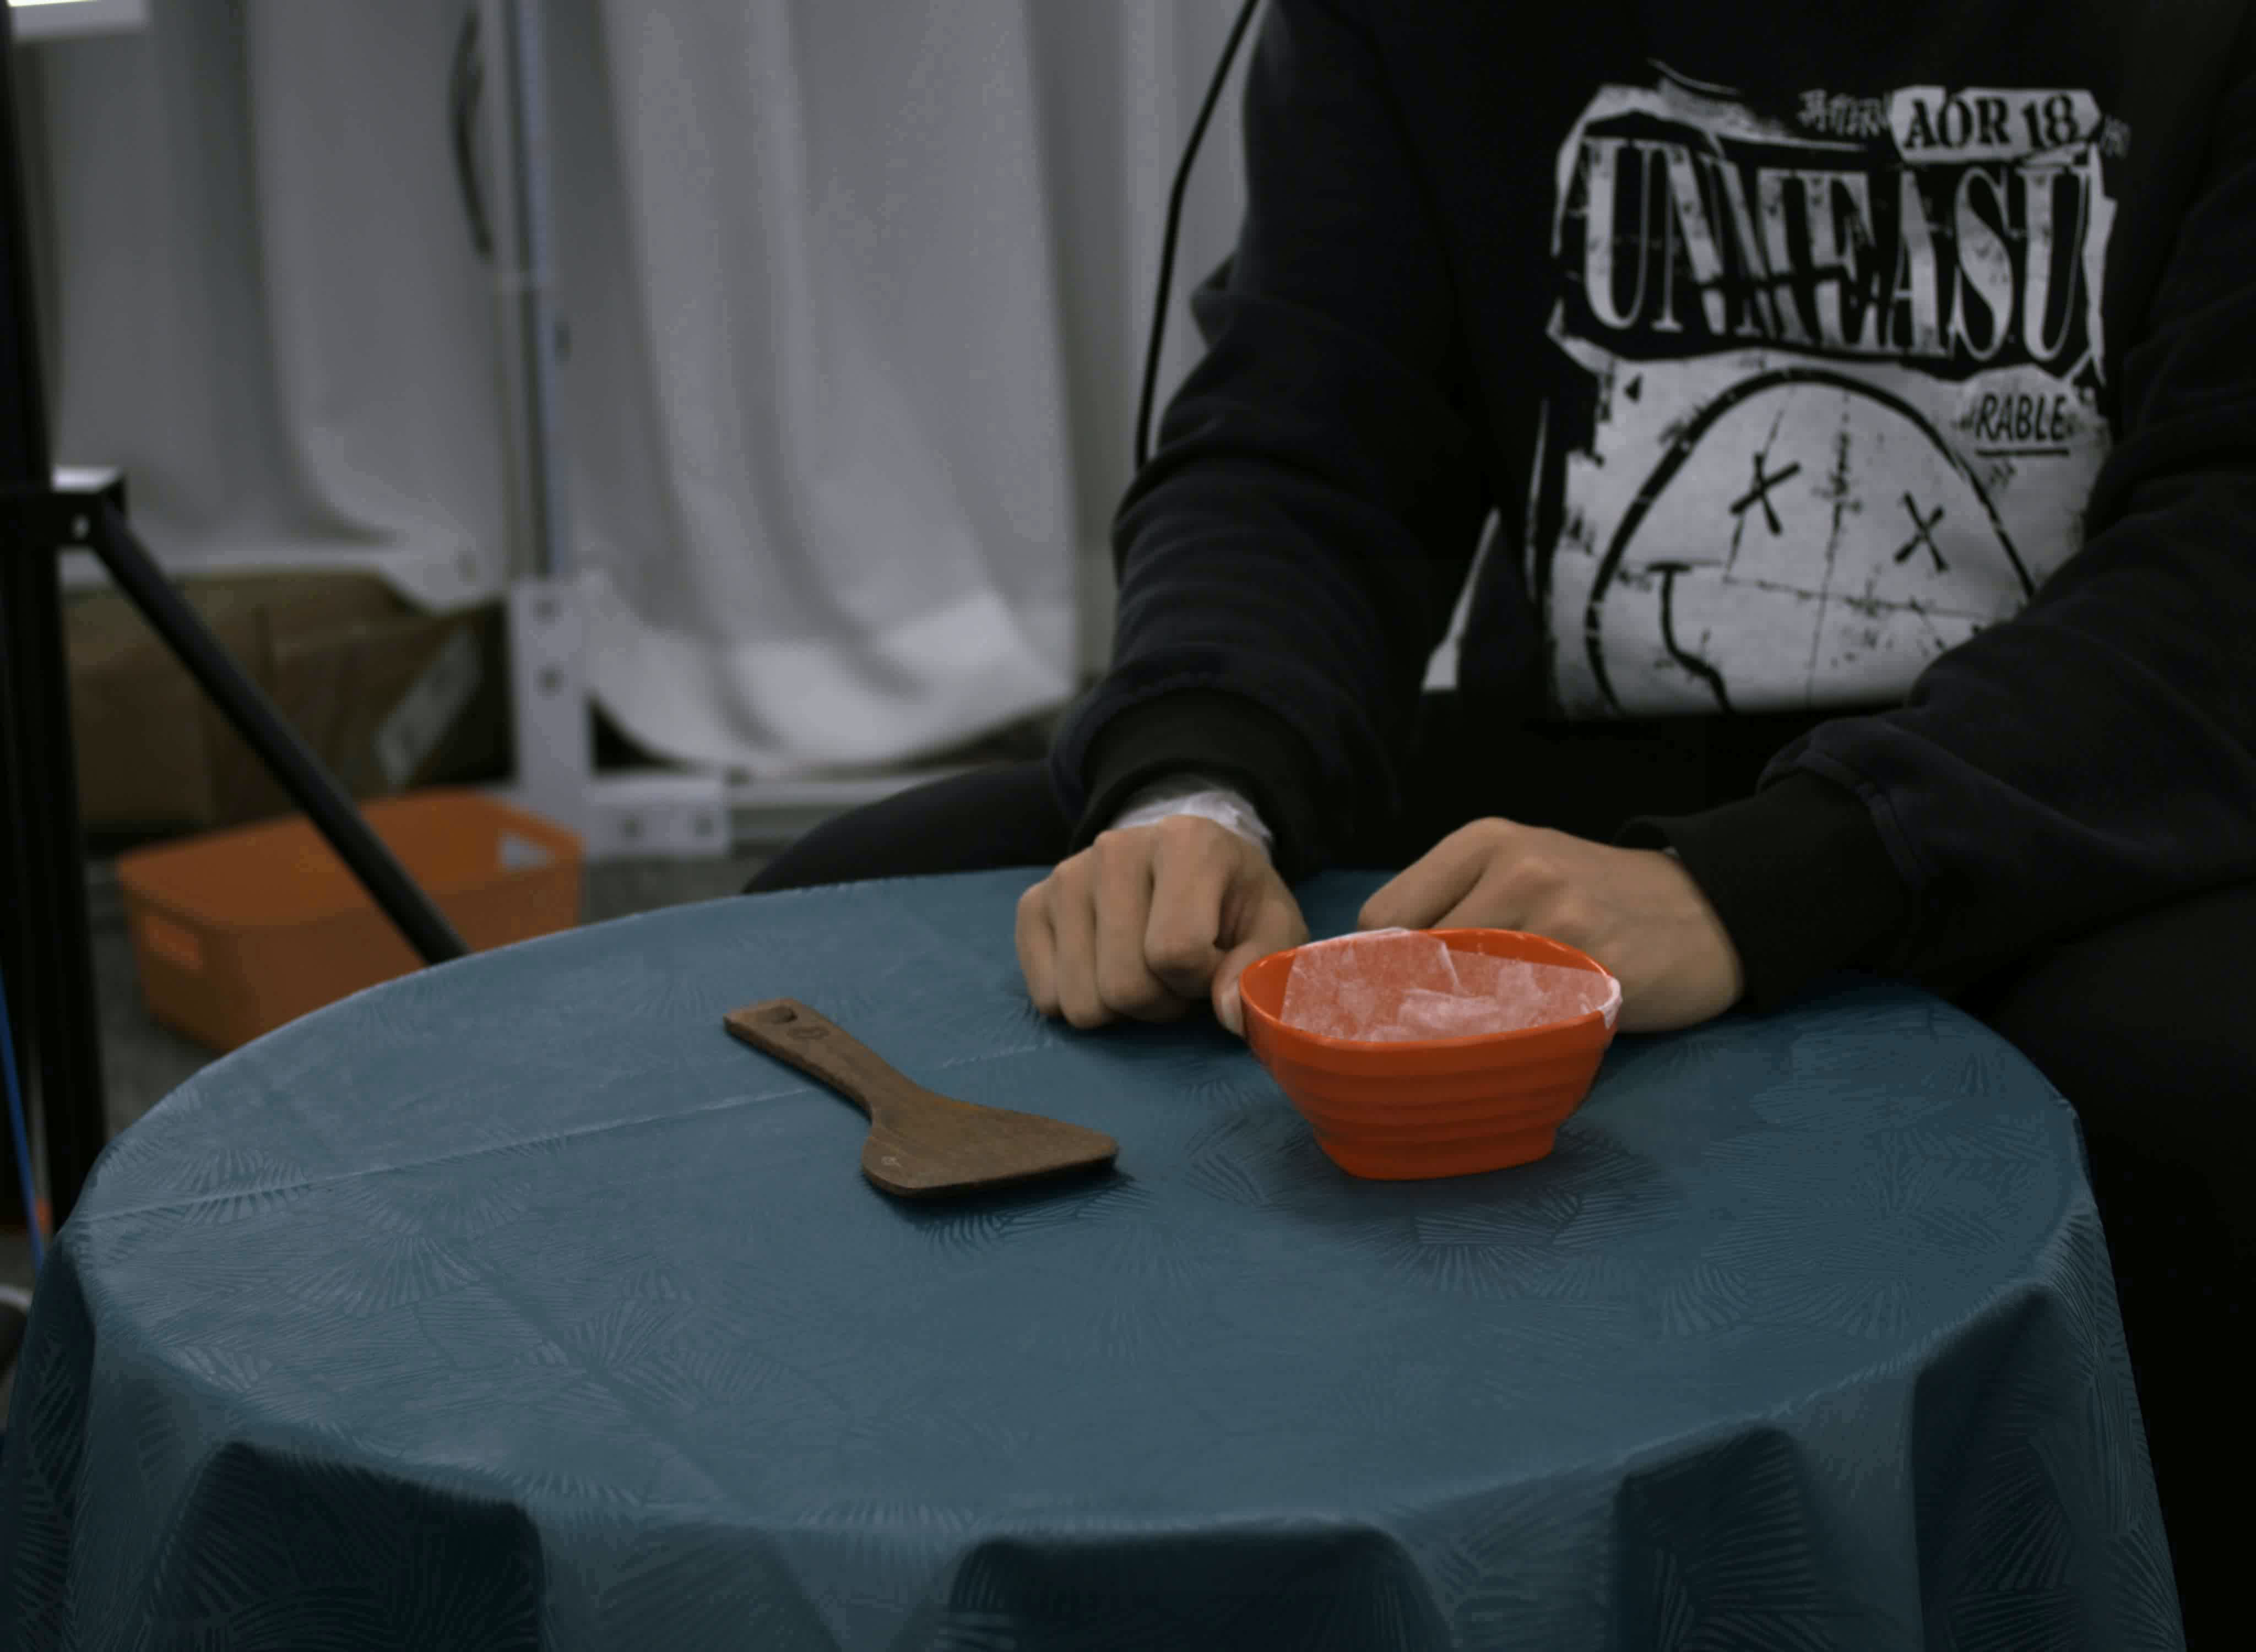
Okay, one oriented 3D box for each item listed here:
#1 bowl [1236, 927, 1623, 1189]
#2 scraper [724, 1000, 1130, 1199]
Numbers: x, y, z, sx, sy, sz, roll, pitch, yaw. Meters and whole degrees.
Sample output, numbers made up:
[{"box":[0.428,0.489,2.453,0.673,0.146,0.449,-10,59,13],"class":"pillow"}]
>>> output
[{"box":[0.091,0.072,1.583,0.118,0.051,0.119,-4,17,0],"class":"bowl"},{"box":[-0.074,0.083,1.645,0.074,0.011,0.215,-9,16,-24],"class":"scraper"}]
